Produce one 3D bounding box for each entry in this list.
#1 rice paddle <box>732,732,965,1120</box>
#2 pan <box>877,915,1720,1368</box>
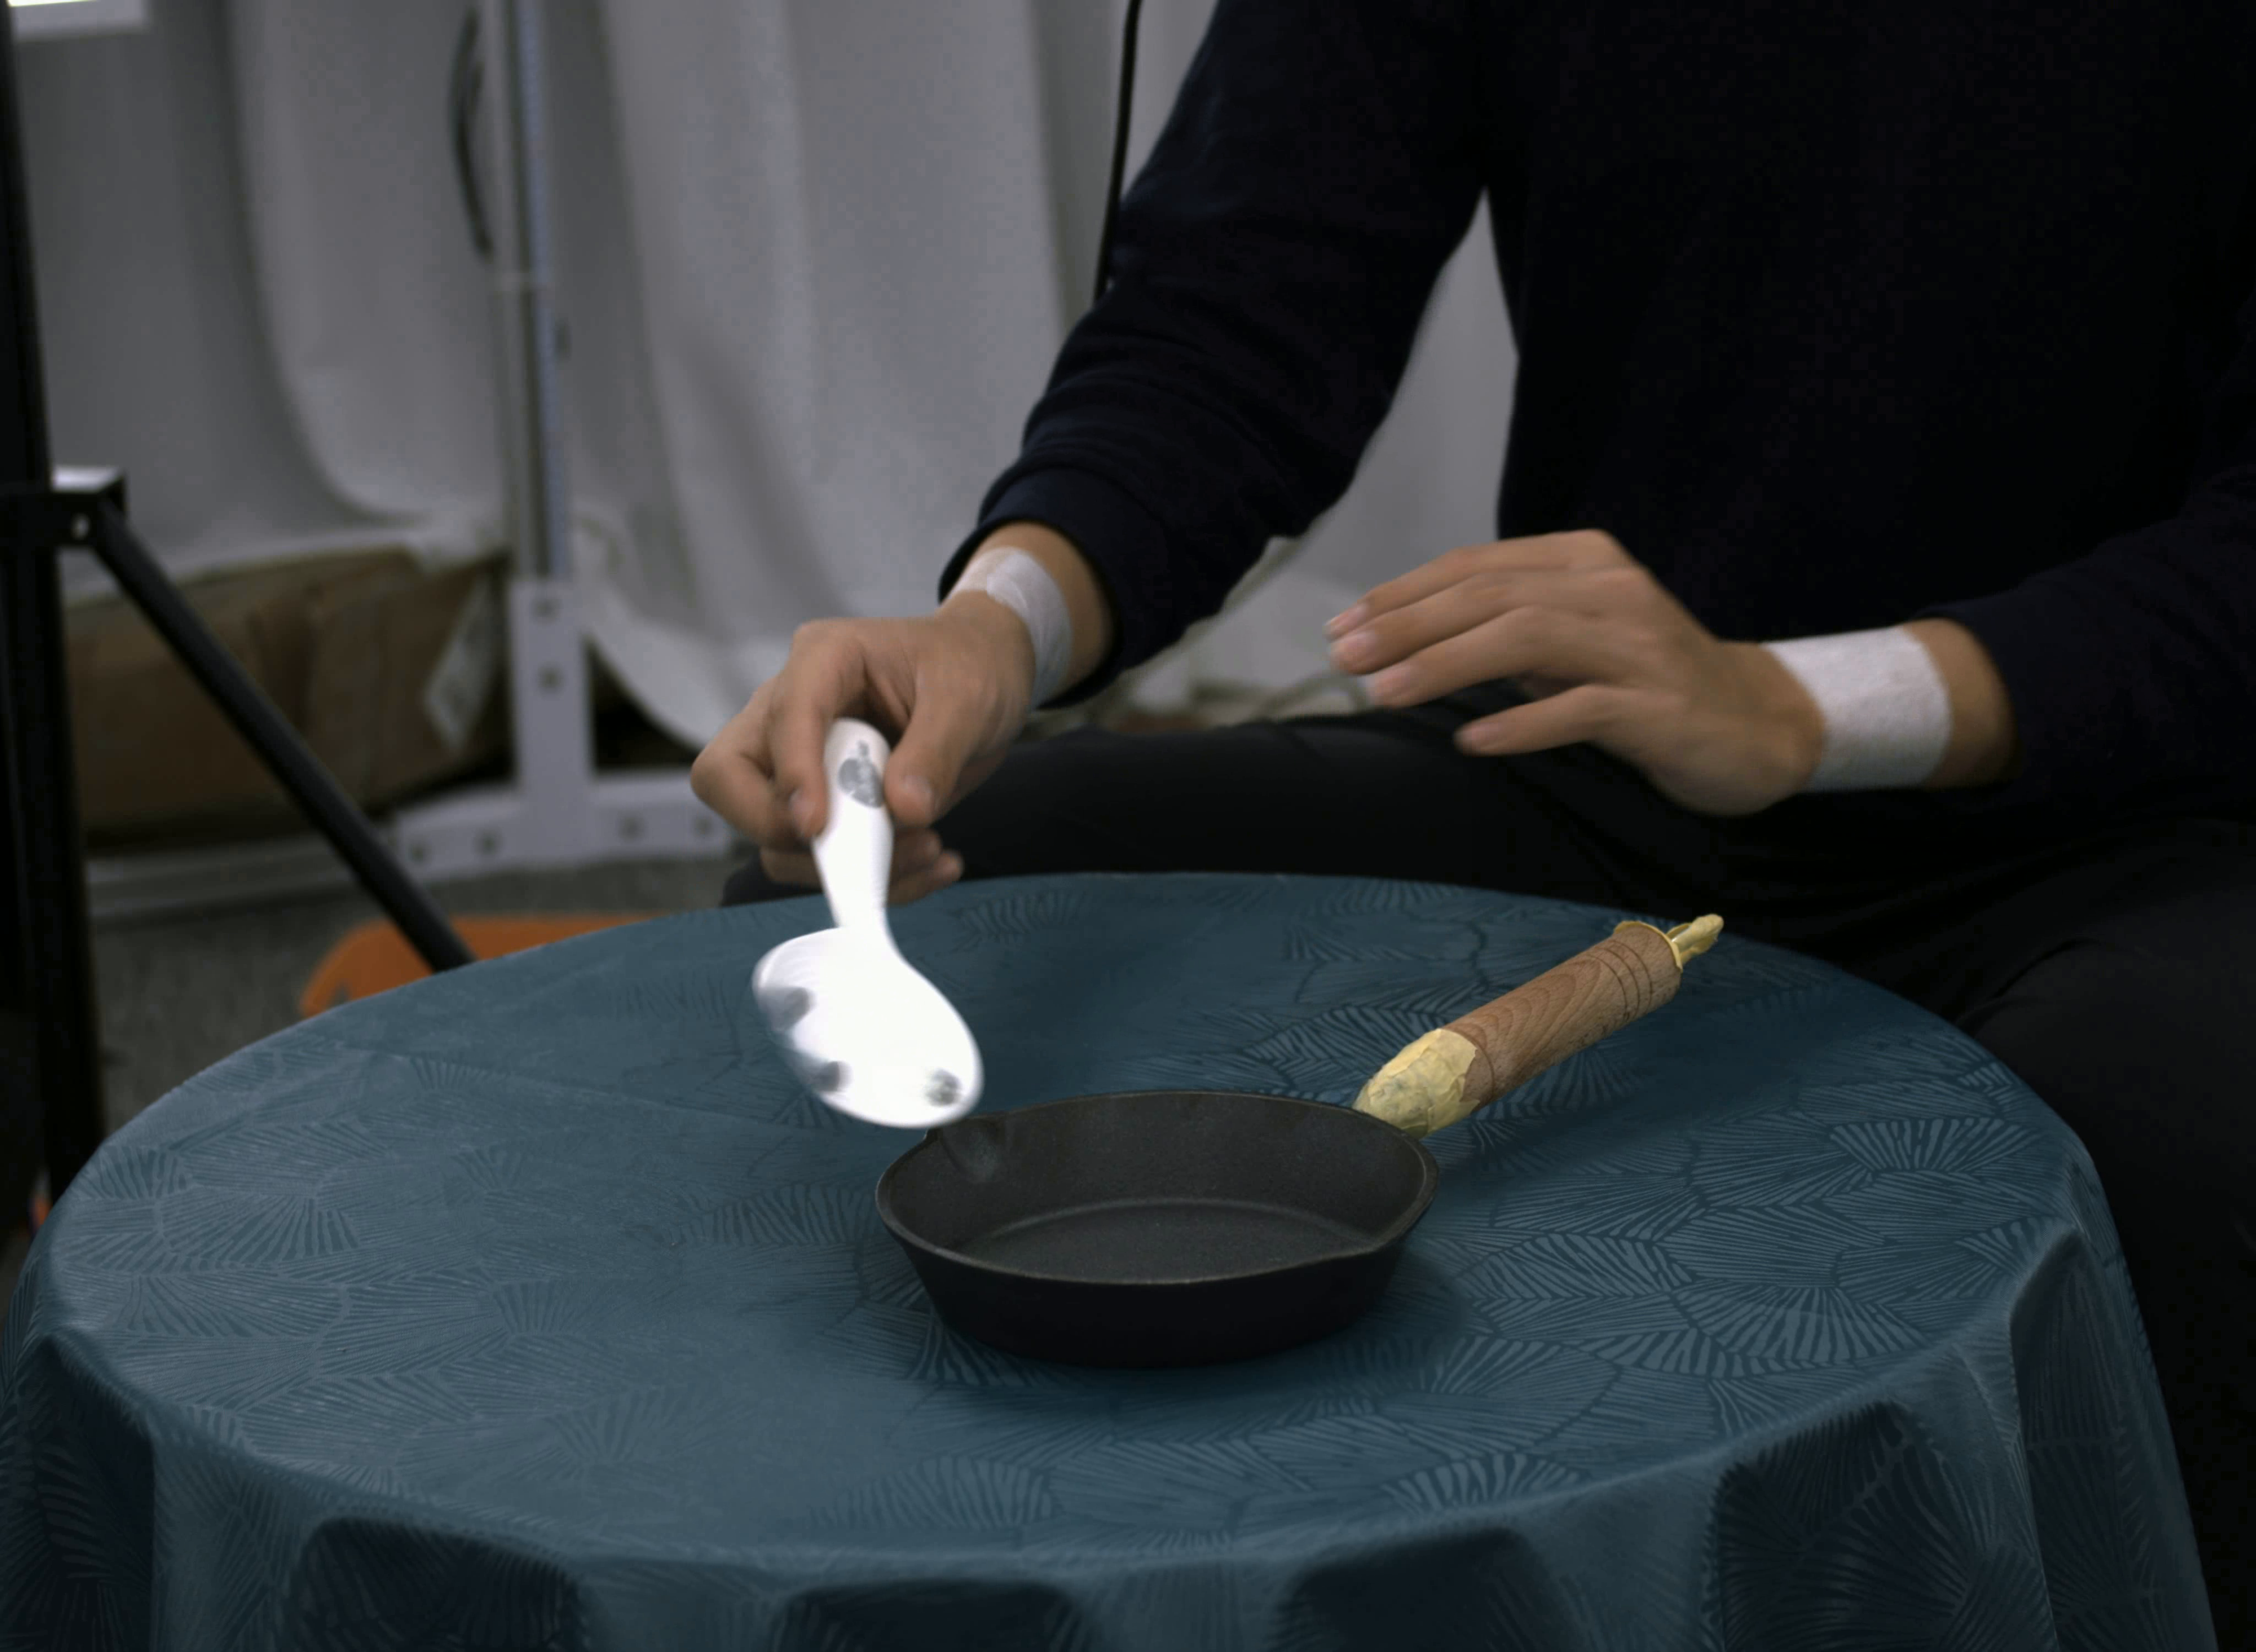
[{"bbox_3d":[-0.083,0.031,1.570,0.068,0.029,0.207,11,26,-9],"label":"rice paddle"},{"bbox_3d":[0.068,0.087,1.528,0.317,0.049,0.173,-19,22,-40],"label":"pan"}]
